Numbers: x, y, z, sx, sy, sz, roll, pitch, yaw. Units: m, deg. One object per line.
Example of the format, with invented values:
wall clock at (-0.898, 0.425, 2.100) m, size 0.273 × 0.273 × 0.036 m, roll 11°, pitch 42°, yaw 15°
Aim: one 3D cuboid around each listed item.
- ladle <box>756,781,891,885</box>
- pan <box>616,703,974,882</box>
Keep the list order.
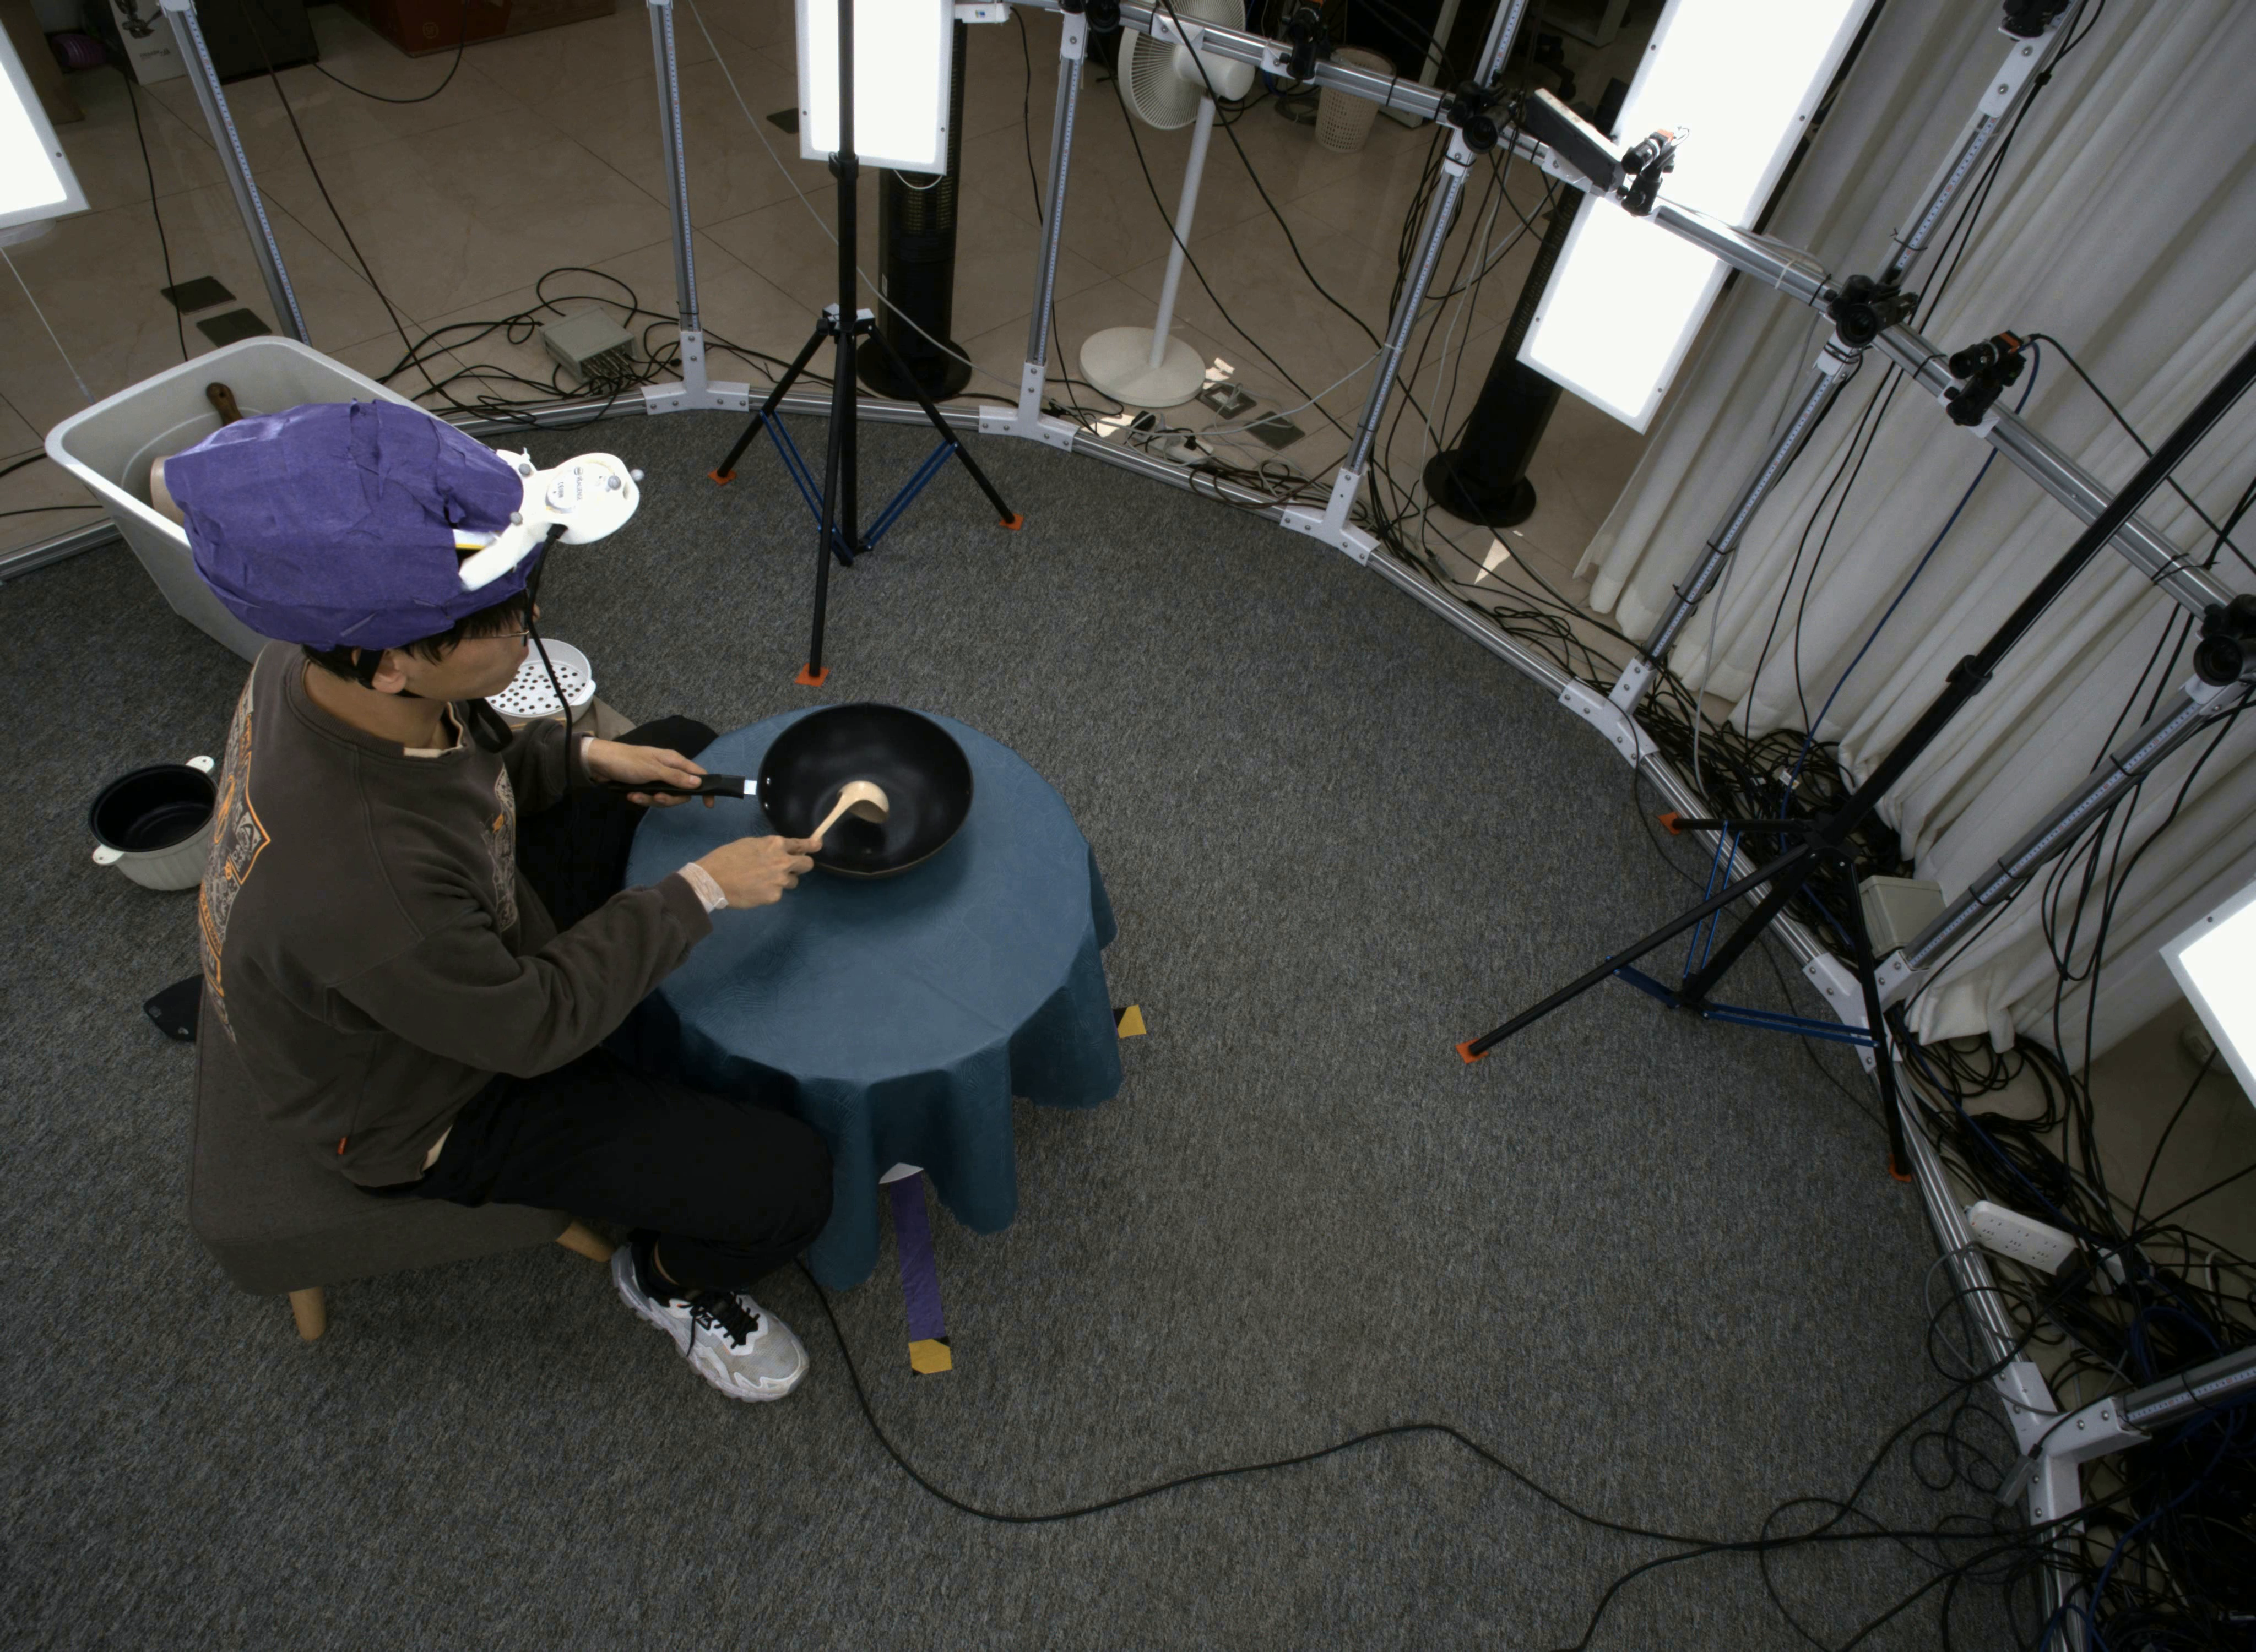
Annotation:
ladle at (-0.389, 0.027, 1.648) m, size 0.070 × 0.075 × 0.253 m, roll 21°, pitch 40°, yaw 15°
pan at (-0.434, -0.031, 1.706) m, size 0.463 × 0.089 × 0.282 m, roll 0°, pitch 55°, yaw -12°
